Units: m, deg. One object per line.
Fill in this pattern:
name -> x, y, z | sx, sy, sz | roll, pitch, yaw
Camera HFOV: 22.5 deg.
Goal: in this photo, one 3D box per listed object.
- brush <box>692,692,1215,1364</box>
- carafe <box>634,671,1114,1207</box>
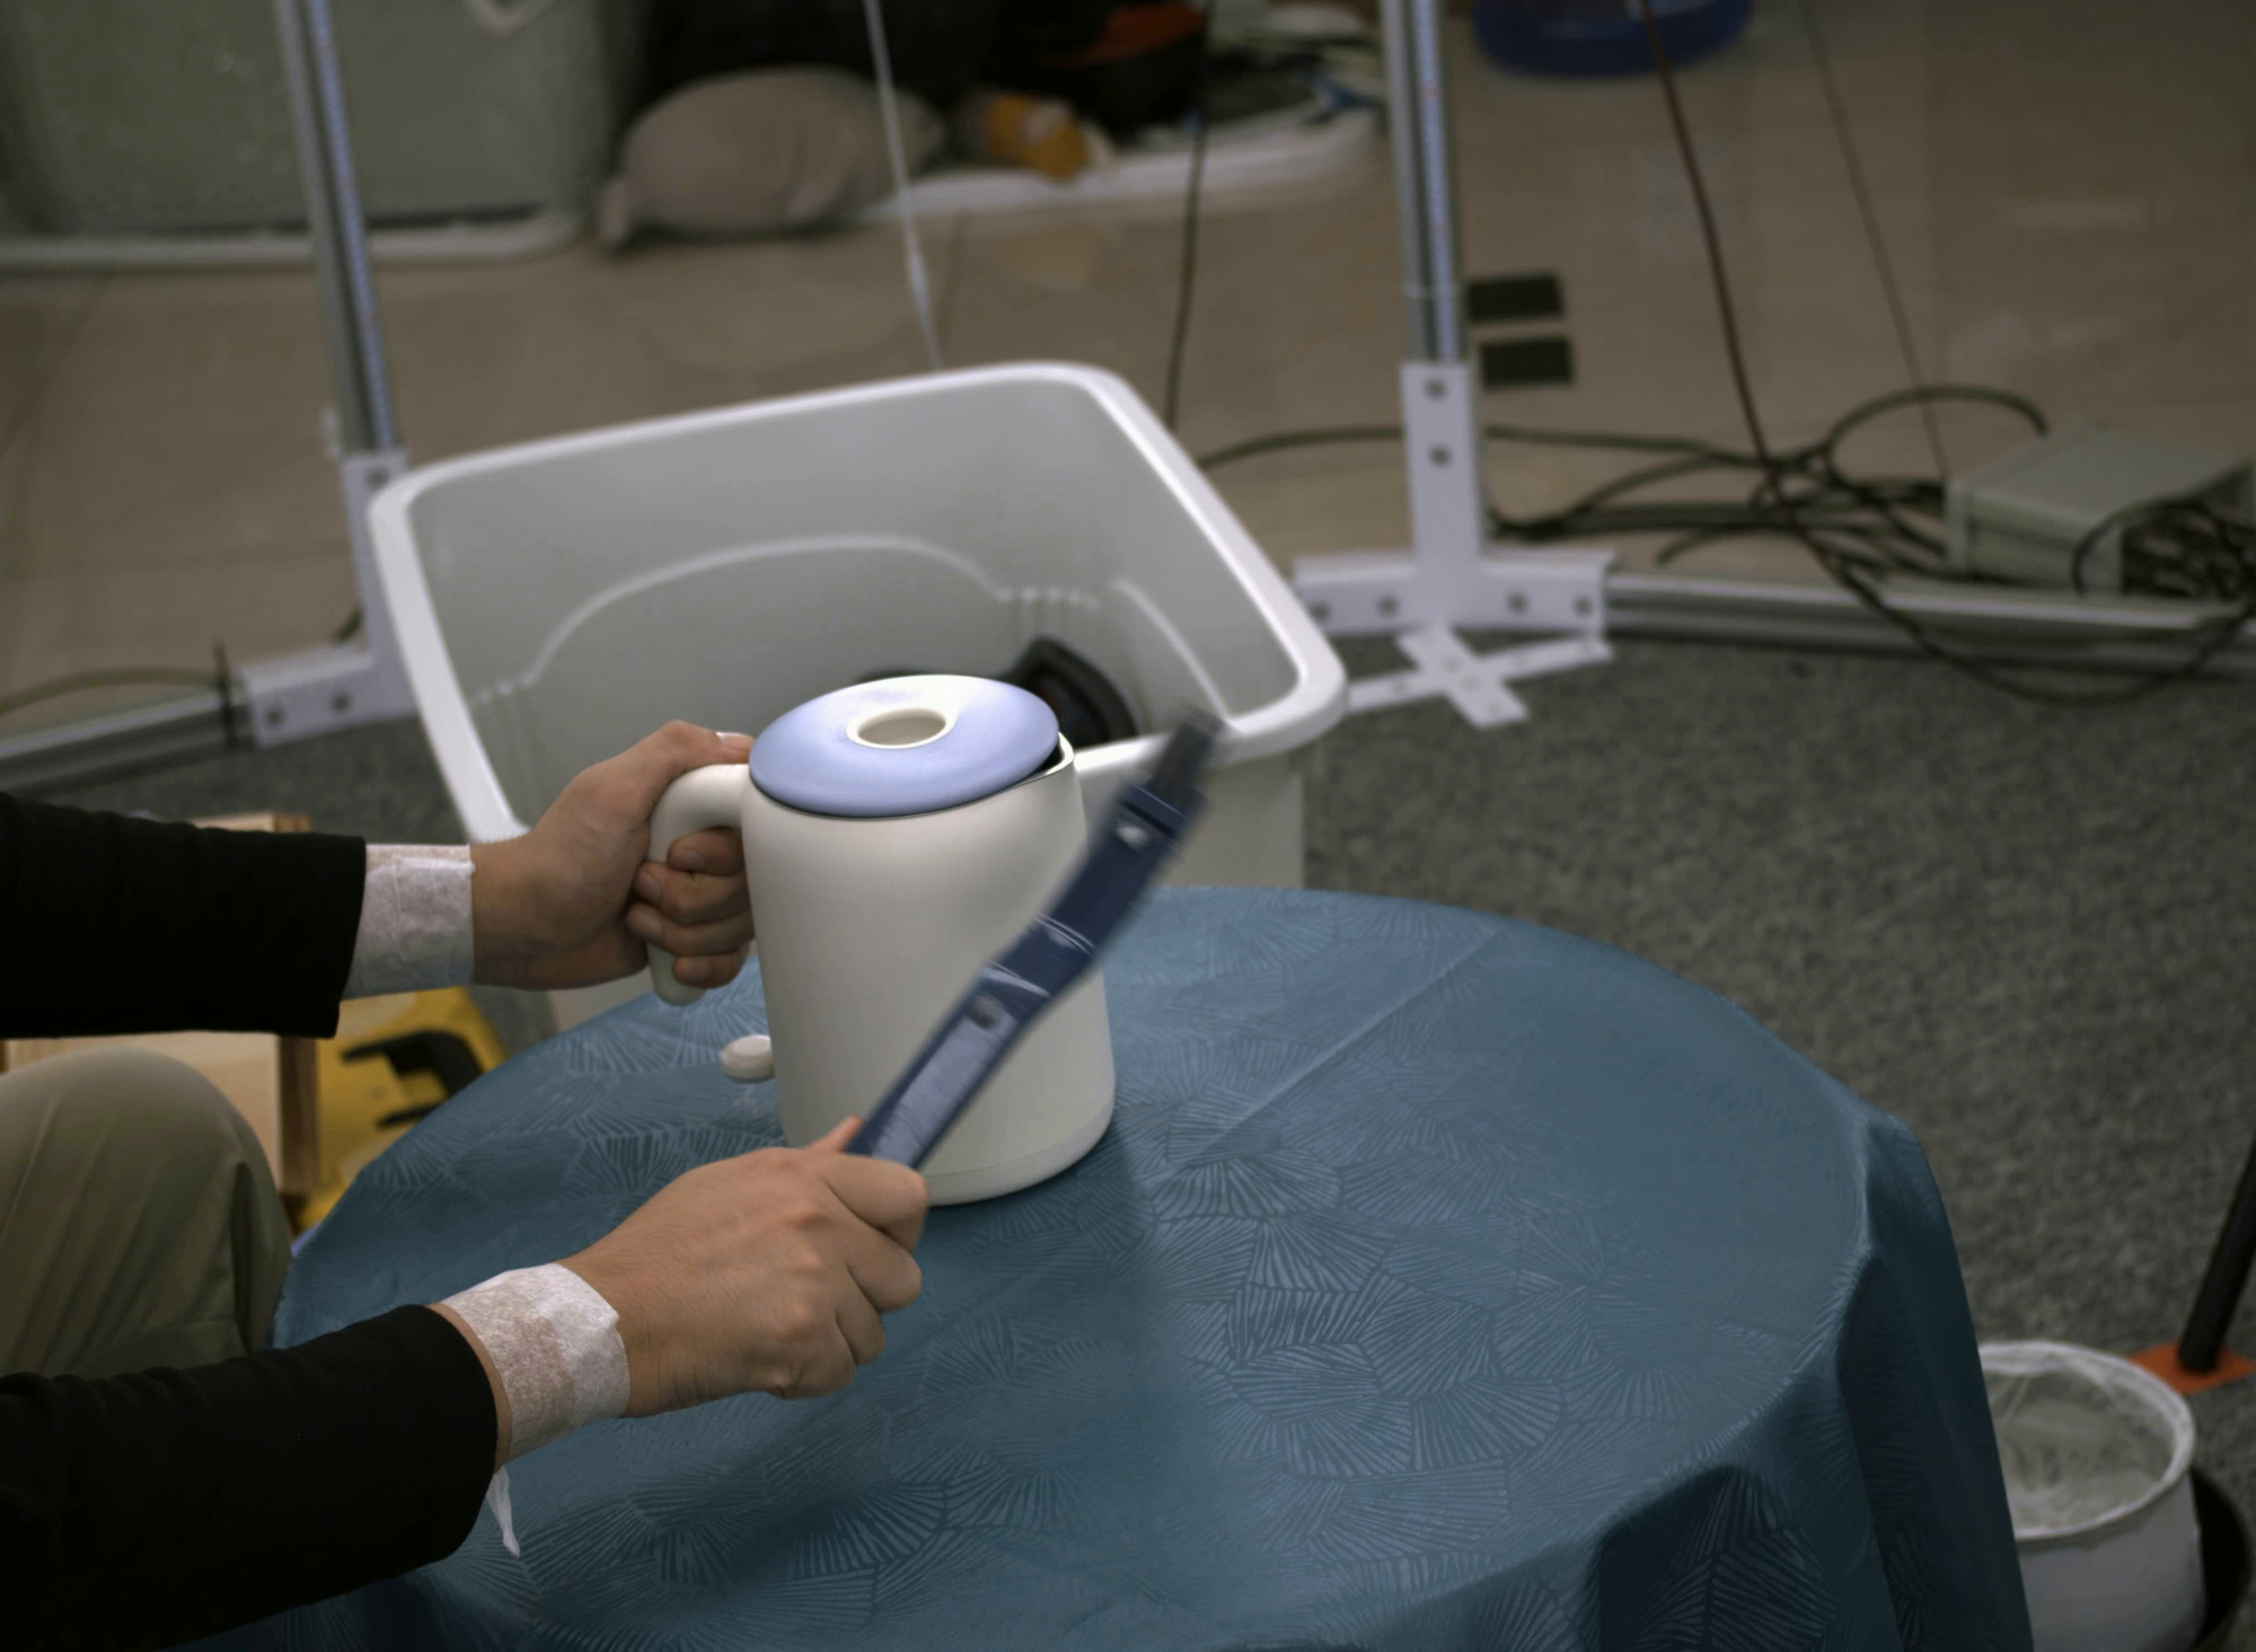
brush -> -0.059, 0.069, 1.988 | 0.033, 0.097, 0.270 | 33, 62, 10
carafe -> -0.100, 0.042, 2.175 | 0.190, 0.185, 0.130 | 2, 27, 19
